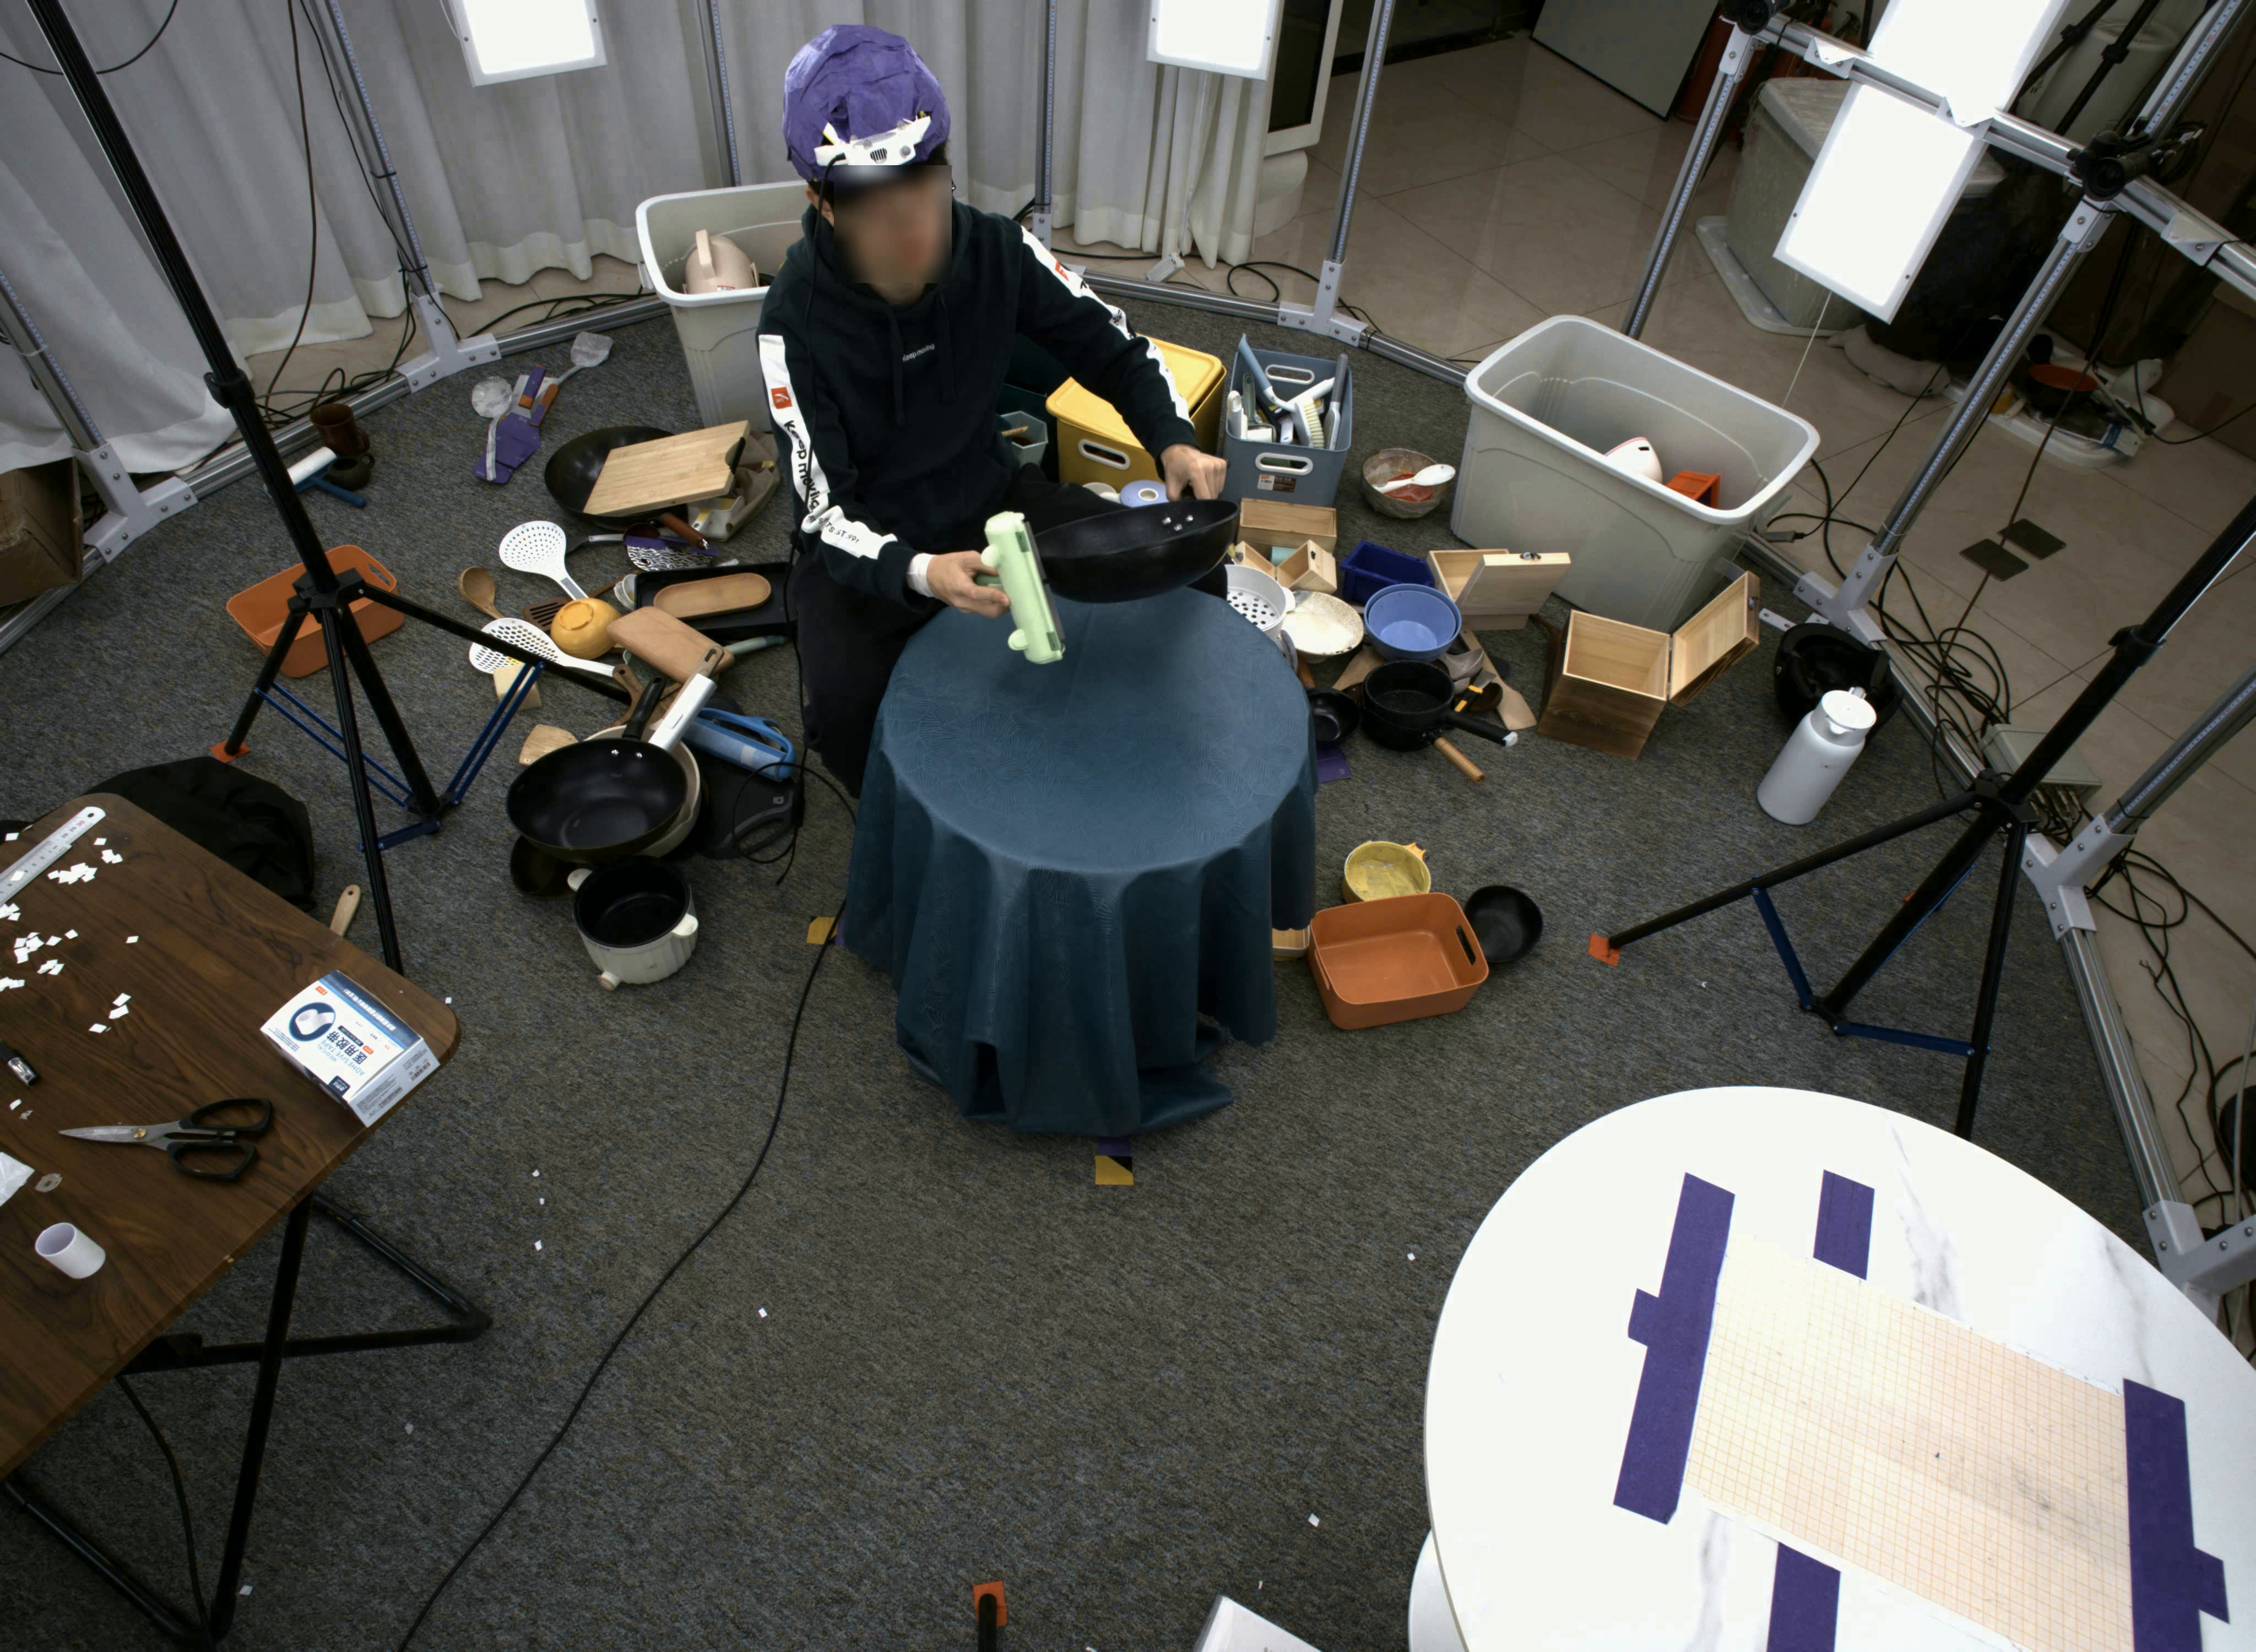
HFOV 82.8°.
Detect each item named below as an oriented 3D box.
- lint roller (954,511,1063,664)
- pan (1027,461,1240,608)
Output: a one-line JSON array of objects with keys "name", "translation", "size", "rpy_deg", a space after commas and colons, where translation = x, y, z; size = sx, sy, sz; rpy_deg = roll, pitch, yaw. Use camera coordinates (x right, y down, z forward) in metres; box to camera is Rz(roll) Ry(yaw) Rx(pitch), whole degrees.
[{"name": "lint roller", "translation": [-0.181, -0.307, 1.682], "size": [0.184, 0.195, 0.083], "rpy_deg": [7, 35, 40]}, {"name": "pan", "translation": [0.041, -0.406, 1.800], "size": [0.311, 0.110, 0.483], "rpy_deg": [3, 26, 30]}]
